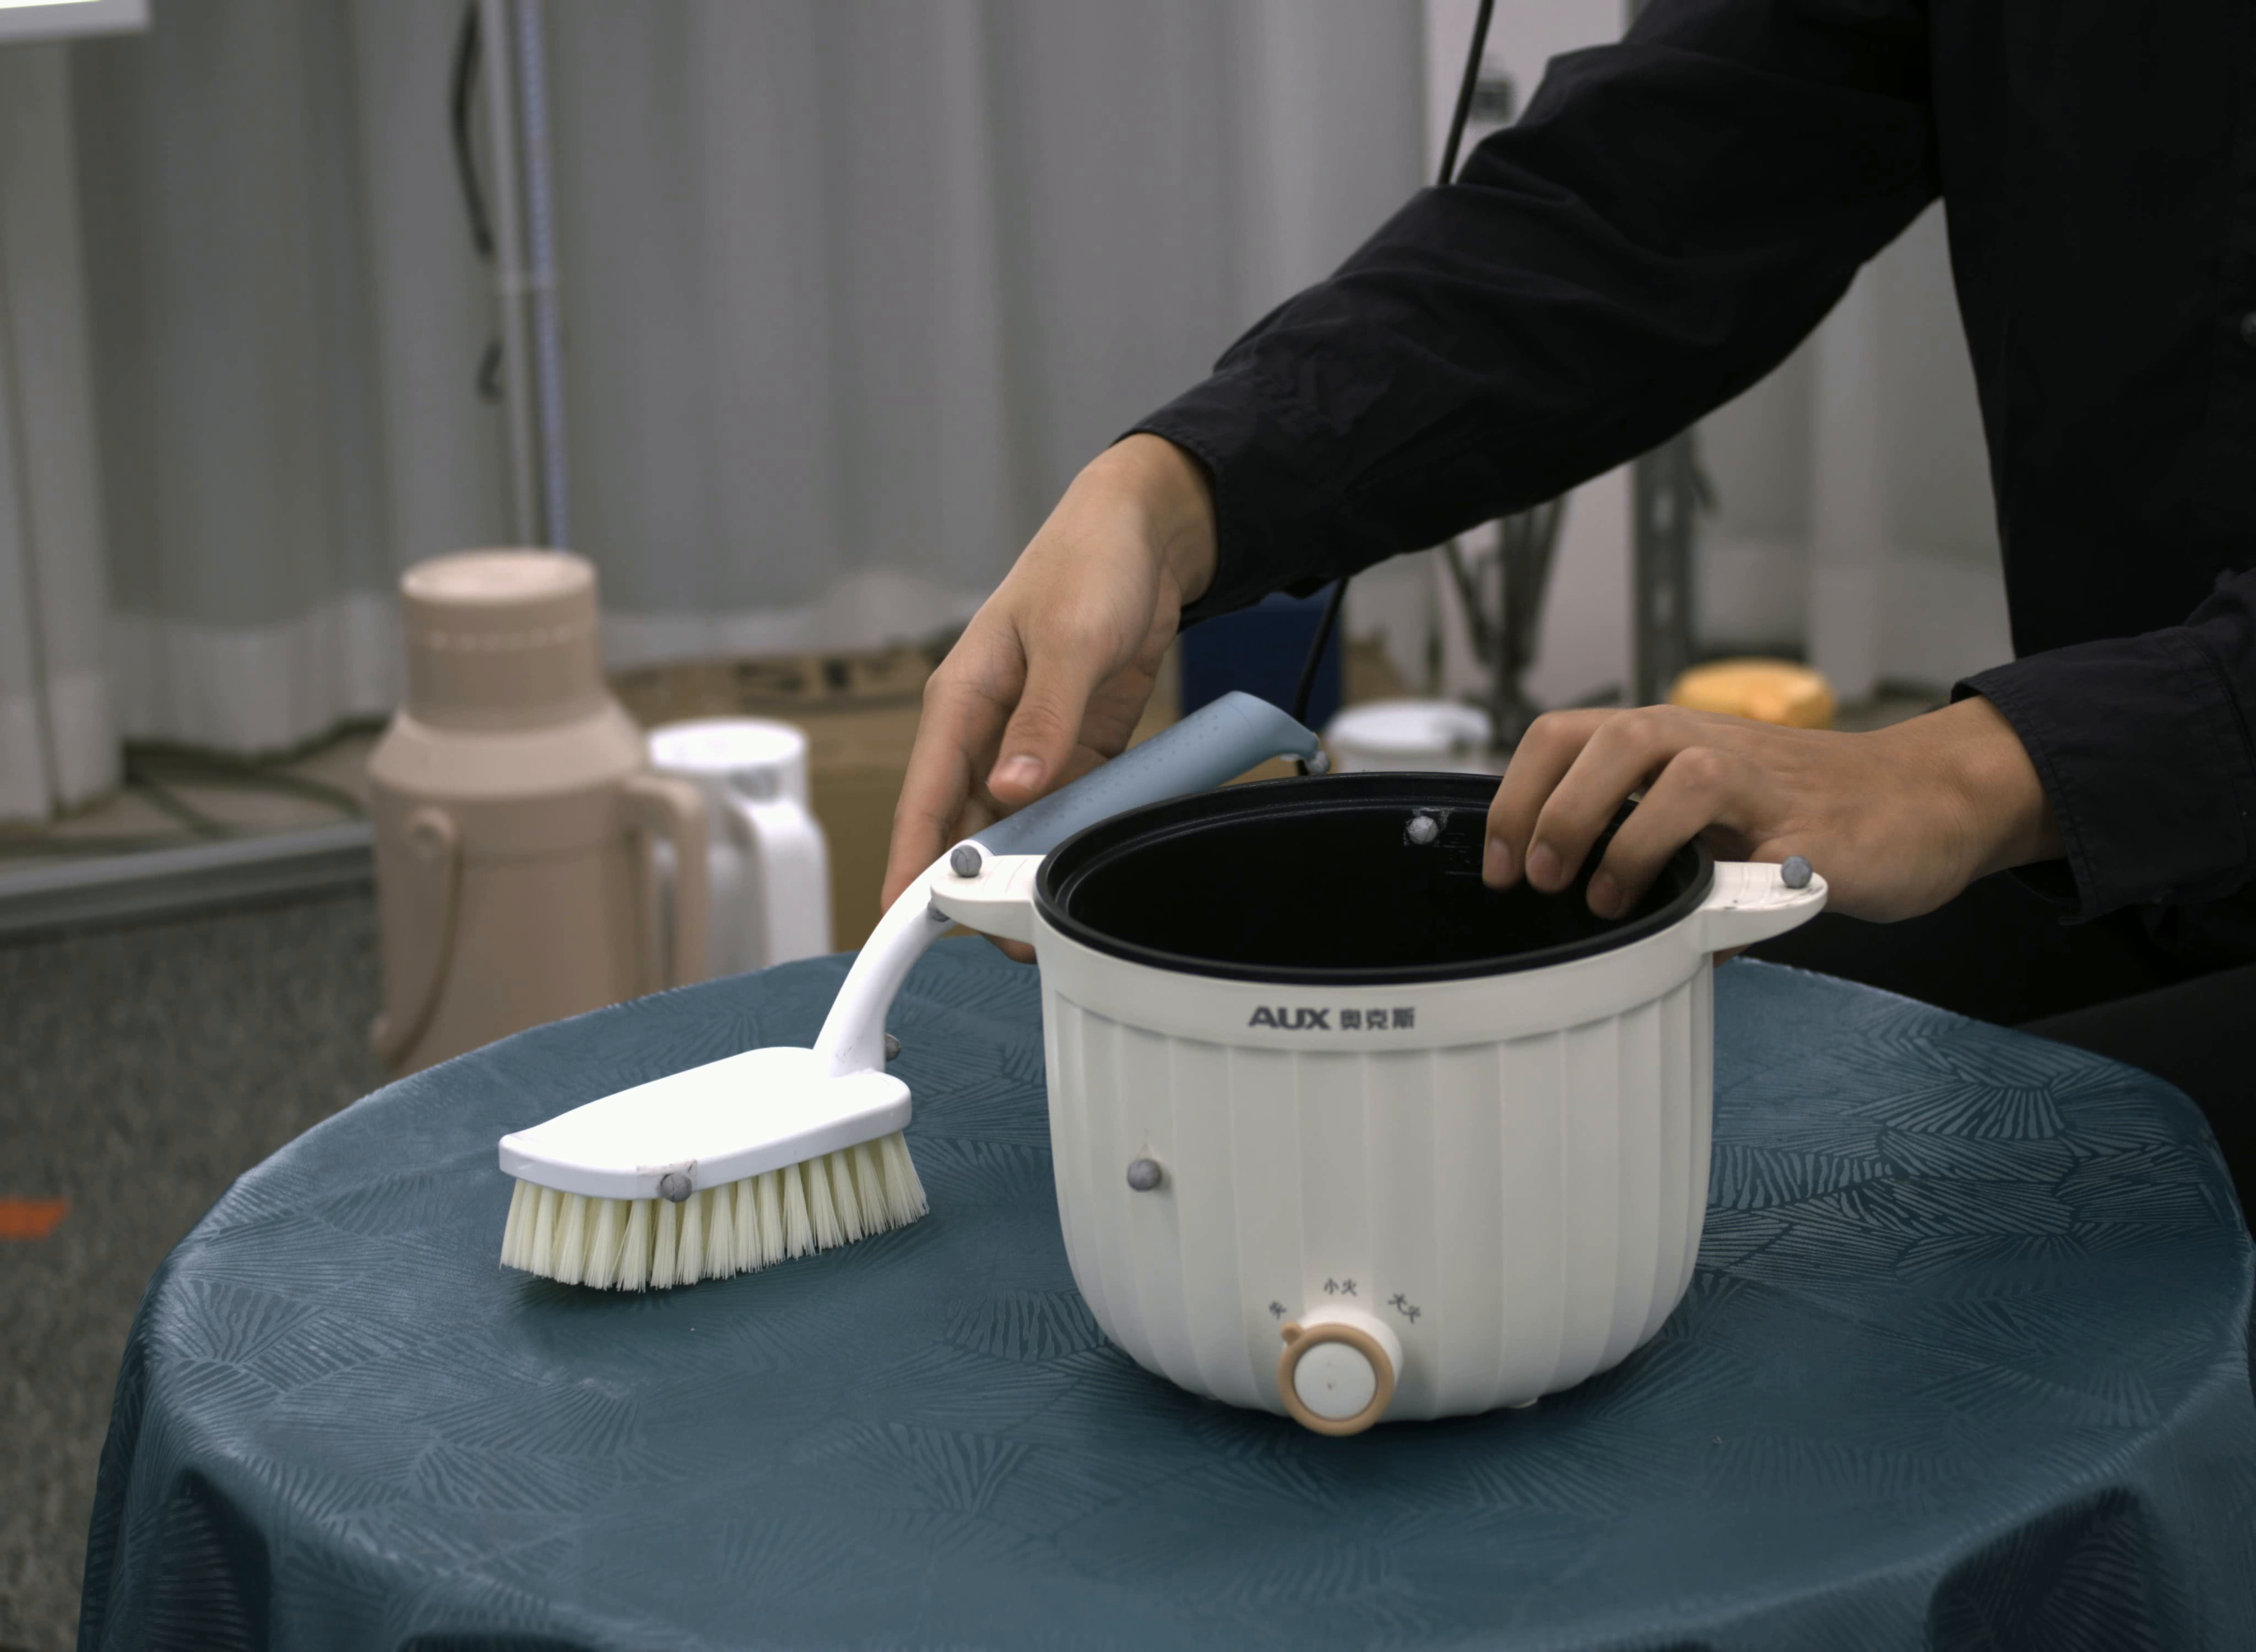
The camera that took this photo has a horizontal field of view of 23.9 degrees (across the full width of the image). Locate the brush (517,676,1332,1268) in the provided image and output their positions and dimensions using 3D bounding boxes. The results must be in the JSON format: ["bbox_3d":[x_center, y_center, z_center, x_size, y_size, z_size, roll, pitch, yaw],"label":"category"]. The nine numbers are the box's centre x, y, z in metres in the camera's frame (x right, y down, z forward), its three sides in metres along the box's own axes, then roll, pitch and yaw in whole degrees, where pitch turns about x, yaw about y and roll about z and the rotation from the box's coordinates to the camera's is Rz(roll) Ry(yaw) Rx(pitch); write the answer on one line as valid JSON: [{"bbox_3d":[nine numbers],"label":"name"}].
[{"bbox_3d":[-0.047,0.059,1.592,0.320,0.085,0.084,-30,65,-34],"label":"brush"}]

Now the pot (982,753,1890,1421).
[{"bbox_3d":[0.083,0.071,1.408,0.241,0.143,0.189,-1,13,11],"label":"pot"}]
